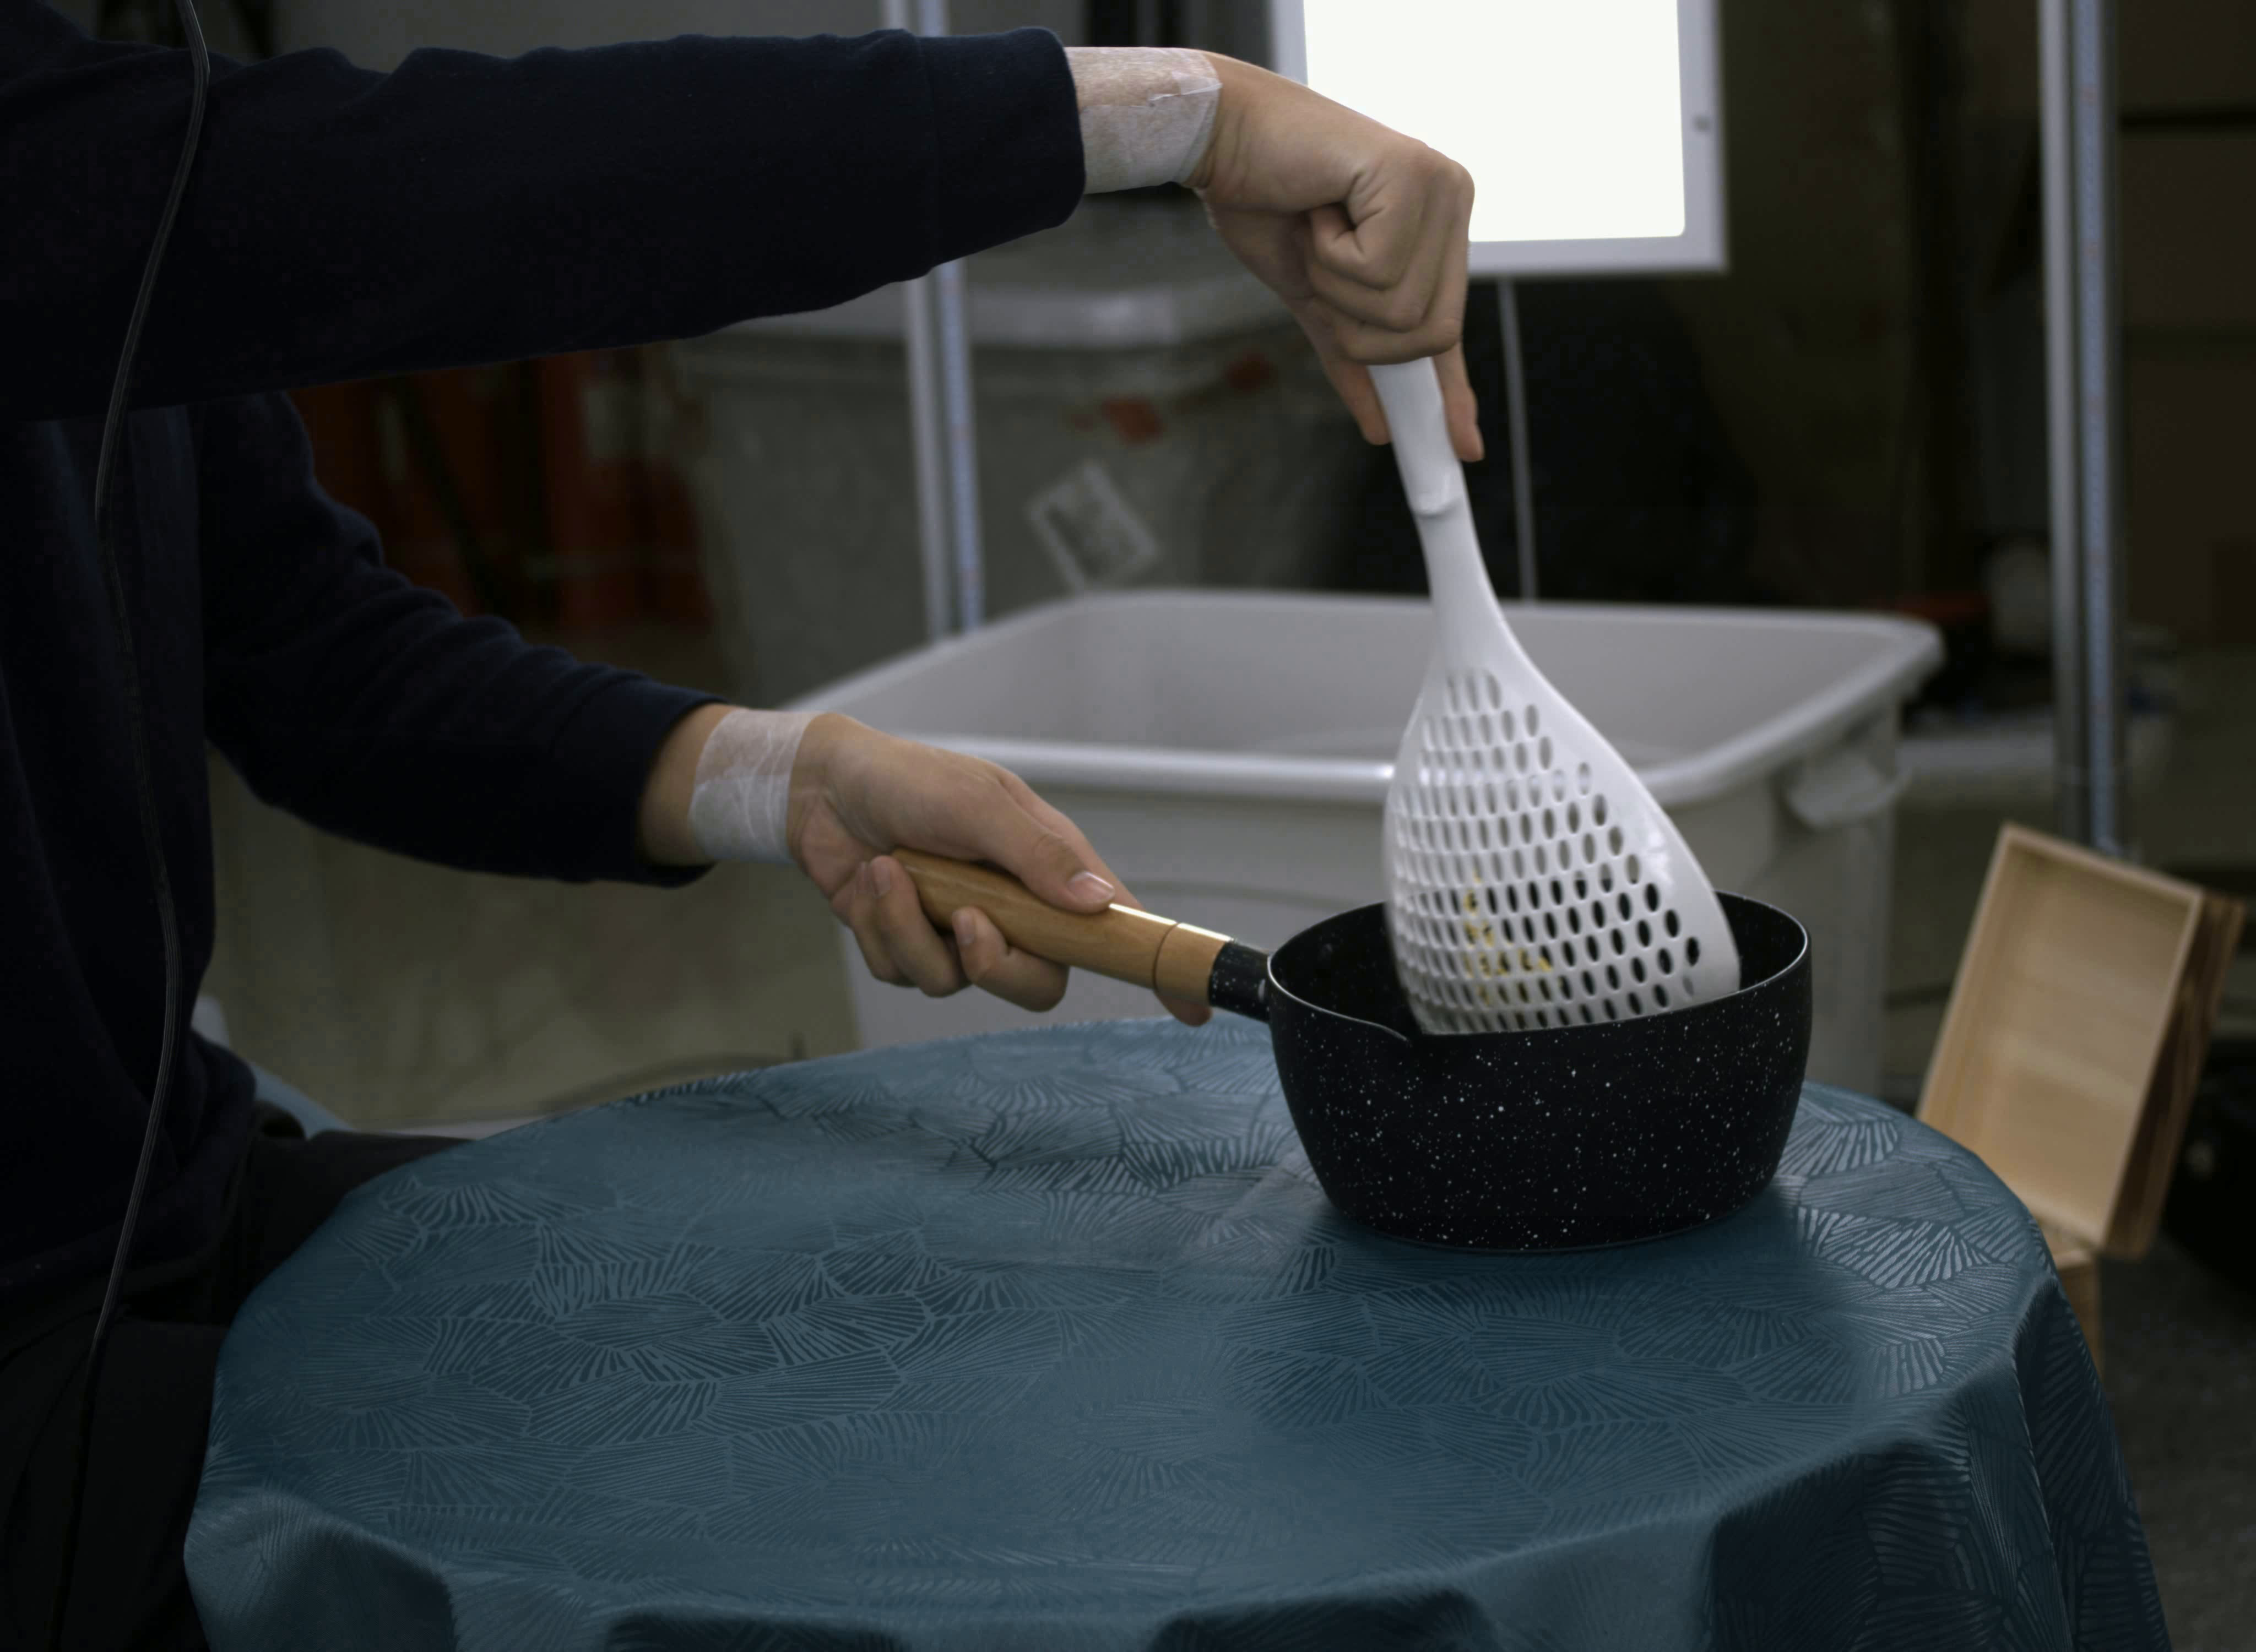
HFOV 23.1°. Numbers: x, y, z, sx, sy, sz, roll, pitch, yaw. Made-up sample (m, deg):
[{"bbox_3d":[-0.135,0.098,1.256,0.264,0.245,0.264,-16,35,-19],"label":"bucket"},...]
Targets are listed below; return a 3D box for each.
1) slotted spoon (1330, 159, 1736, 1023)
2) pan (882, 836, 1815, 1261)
[{"bbox_3d":[0.112,-0.056,1.837,0.140,0.348,0.049,-3,15,36],"label":"slotted spoon"},{"bbox_3d":[0.069,0.067,1.887,0.348,0.108,0.203,4,17,27],"label":"pan"}]
